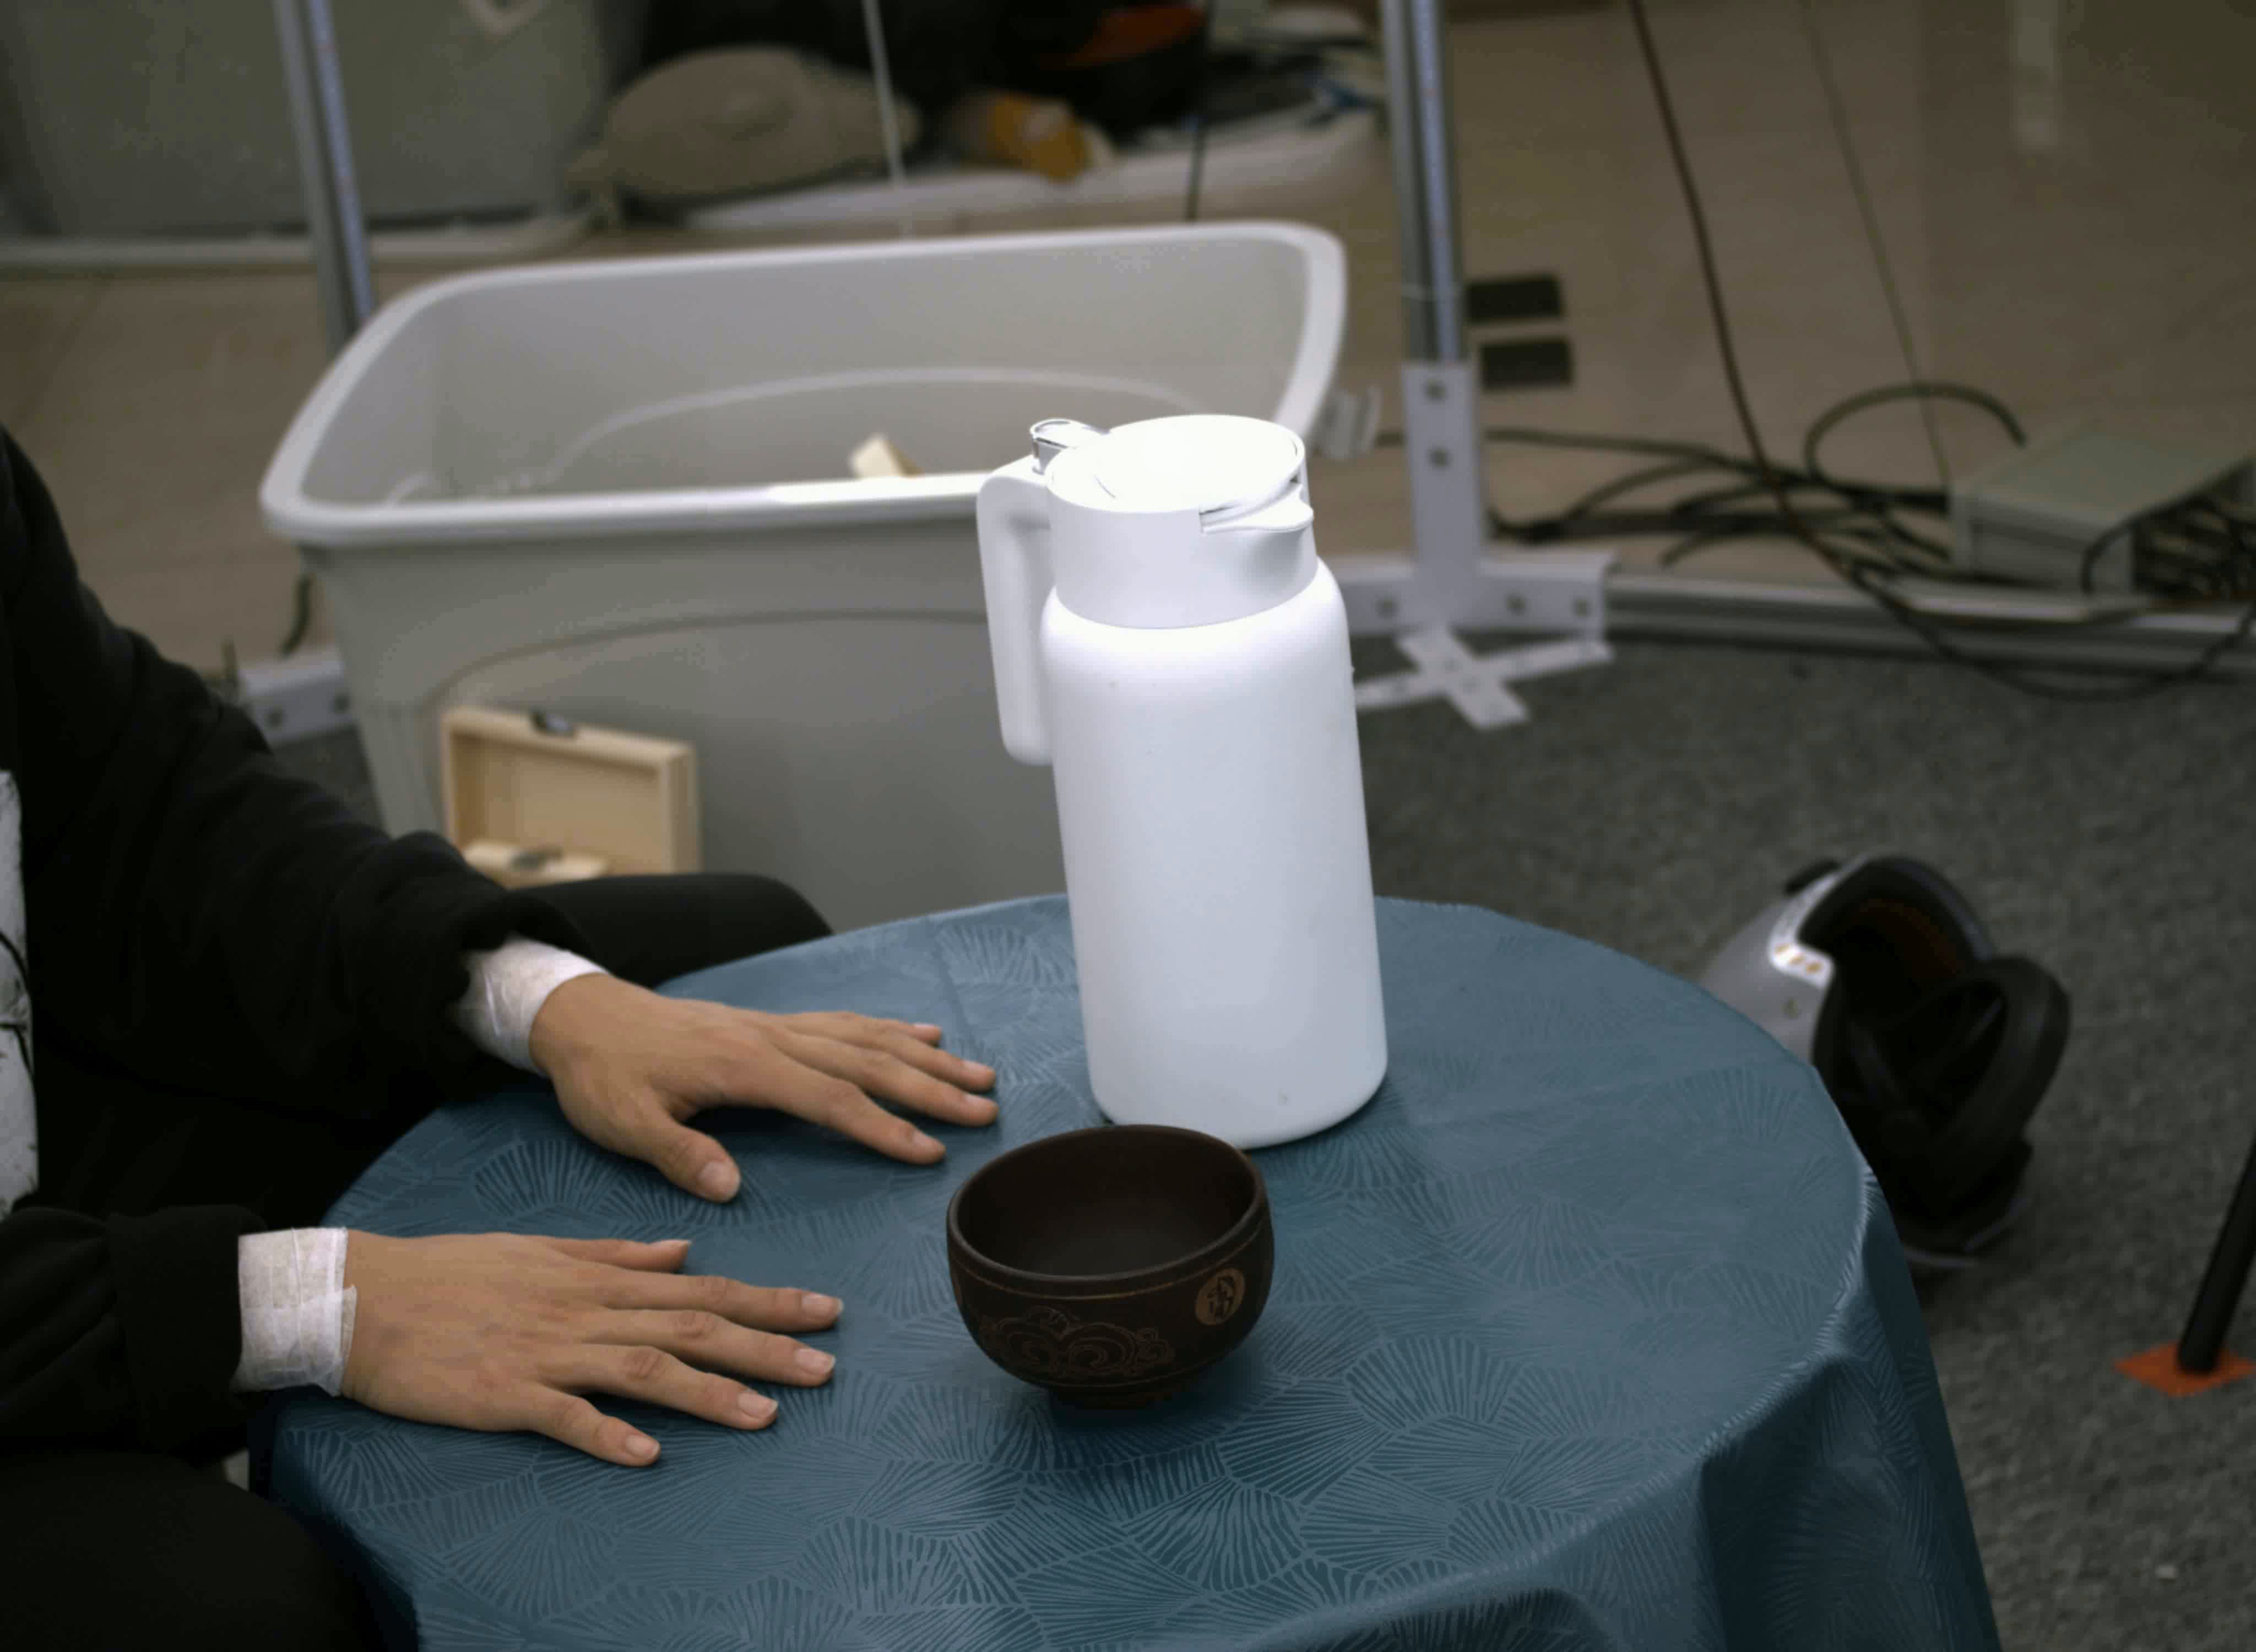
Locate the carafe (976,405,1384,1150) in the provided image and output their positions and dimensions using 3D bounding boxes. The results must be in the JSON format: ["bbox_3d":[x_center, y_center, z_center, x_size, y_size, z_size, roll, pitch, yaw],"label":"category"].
[{"bbox_3d":[0.017,-0.020,2.166,0.171,0.273,0.123,19,38,42],"label":"carafe"}]

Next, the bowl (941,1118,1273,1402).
[{"bbox_3d":[-0.005,0.161,2.016,0.118,0.071,0.116,-6,25,3],"label":"bowl"}]
